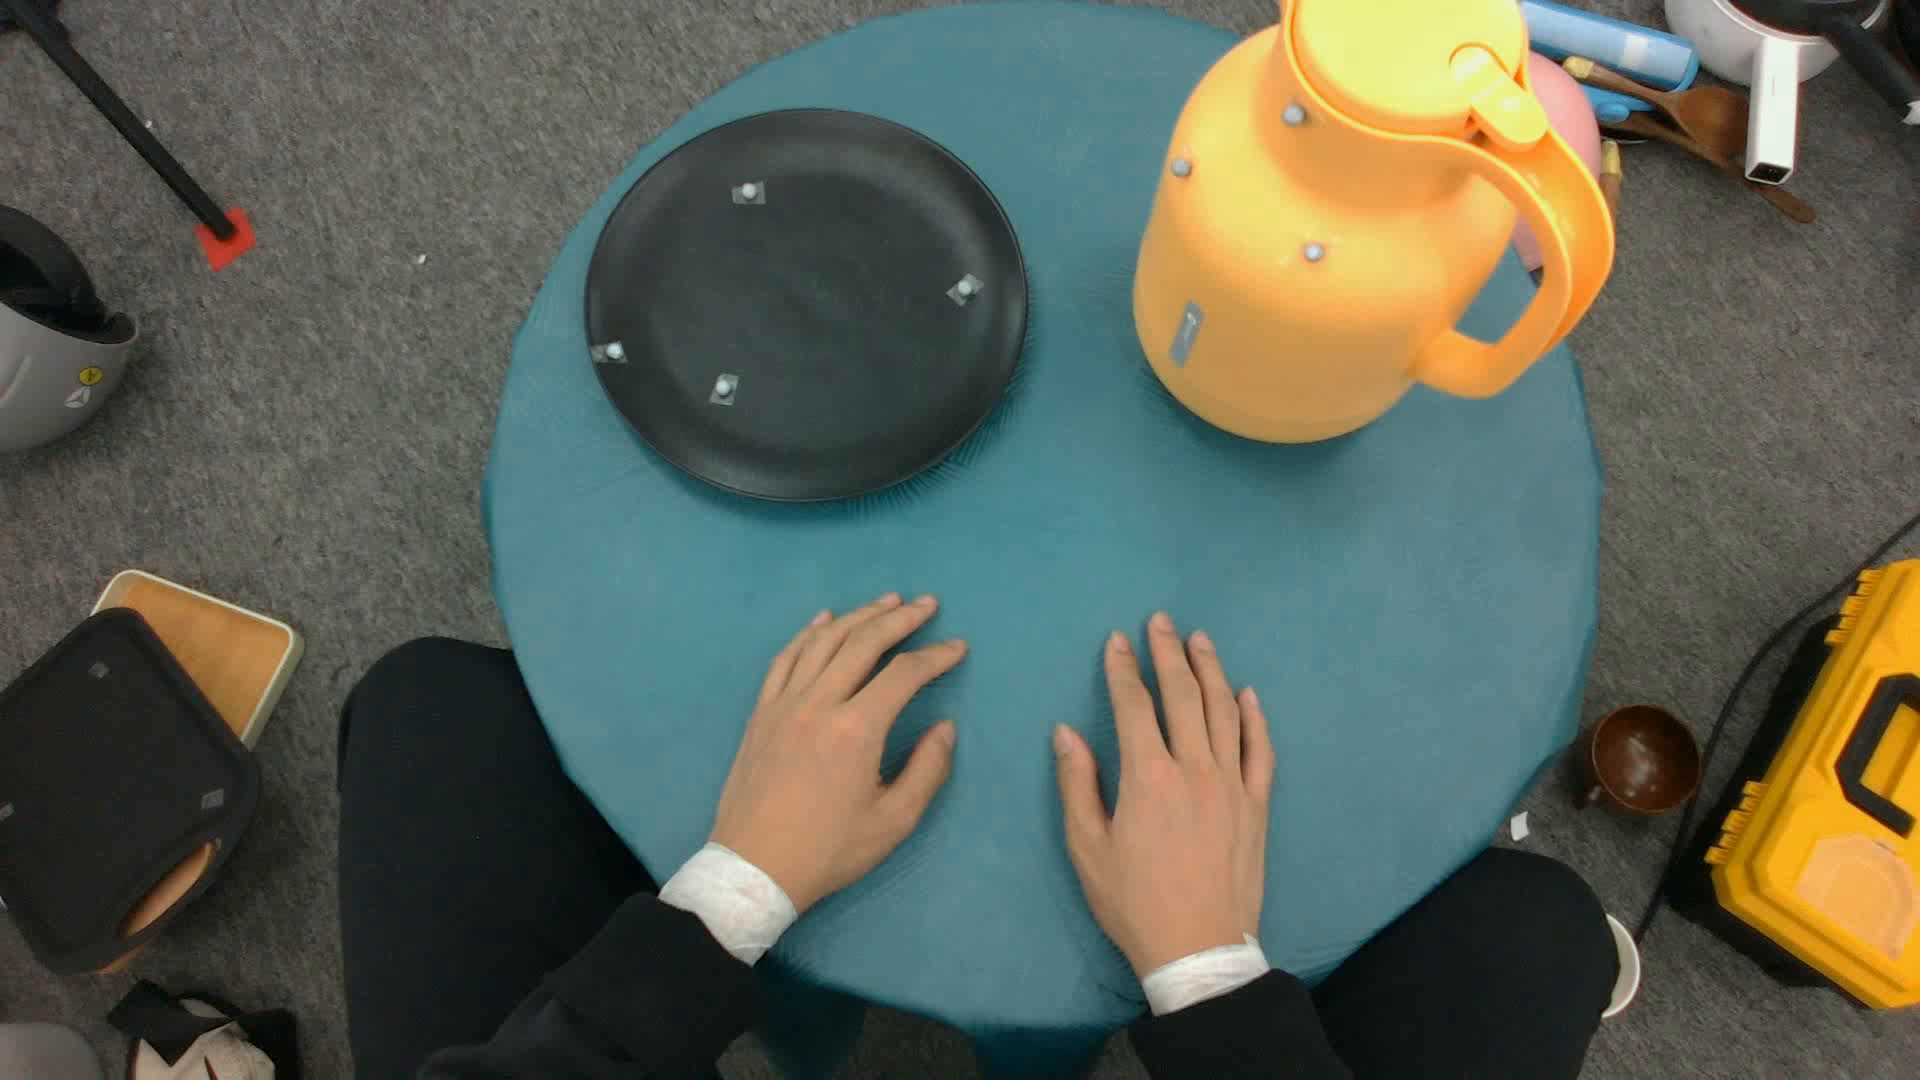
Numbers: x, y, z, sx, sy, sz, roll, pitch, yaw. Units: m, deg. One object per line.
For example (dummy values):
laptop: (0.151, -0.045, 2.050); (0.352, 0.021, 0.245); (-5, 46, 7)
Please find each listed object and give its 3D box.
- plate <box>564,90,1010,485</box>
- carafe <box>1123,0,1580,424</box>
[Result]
plate: (-0.094, -0.141, 0.761); (0.244, 0.023, 0.245); (0, 71, -1)
carafe: (0.178, -0.156, 0.648); (0.164, 0.259, 0.202); (-36, 74, -10)
